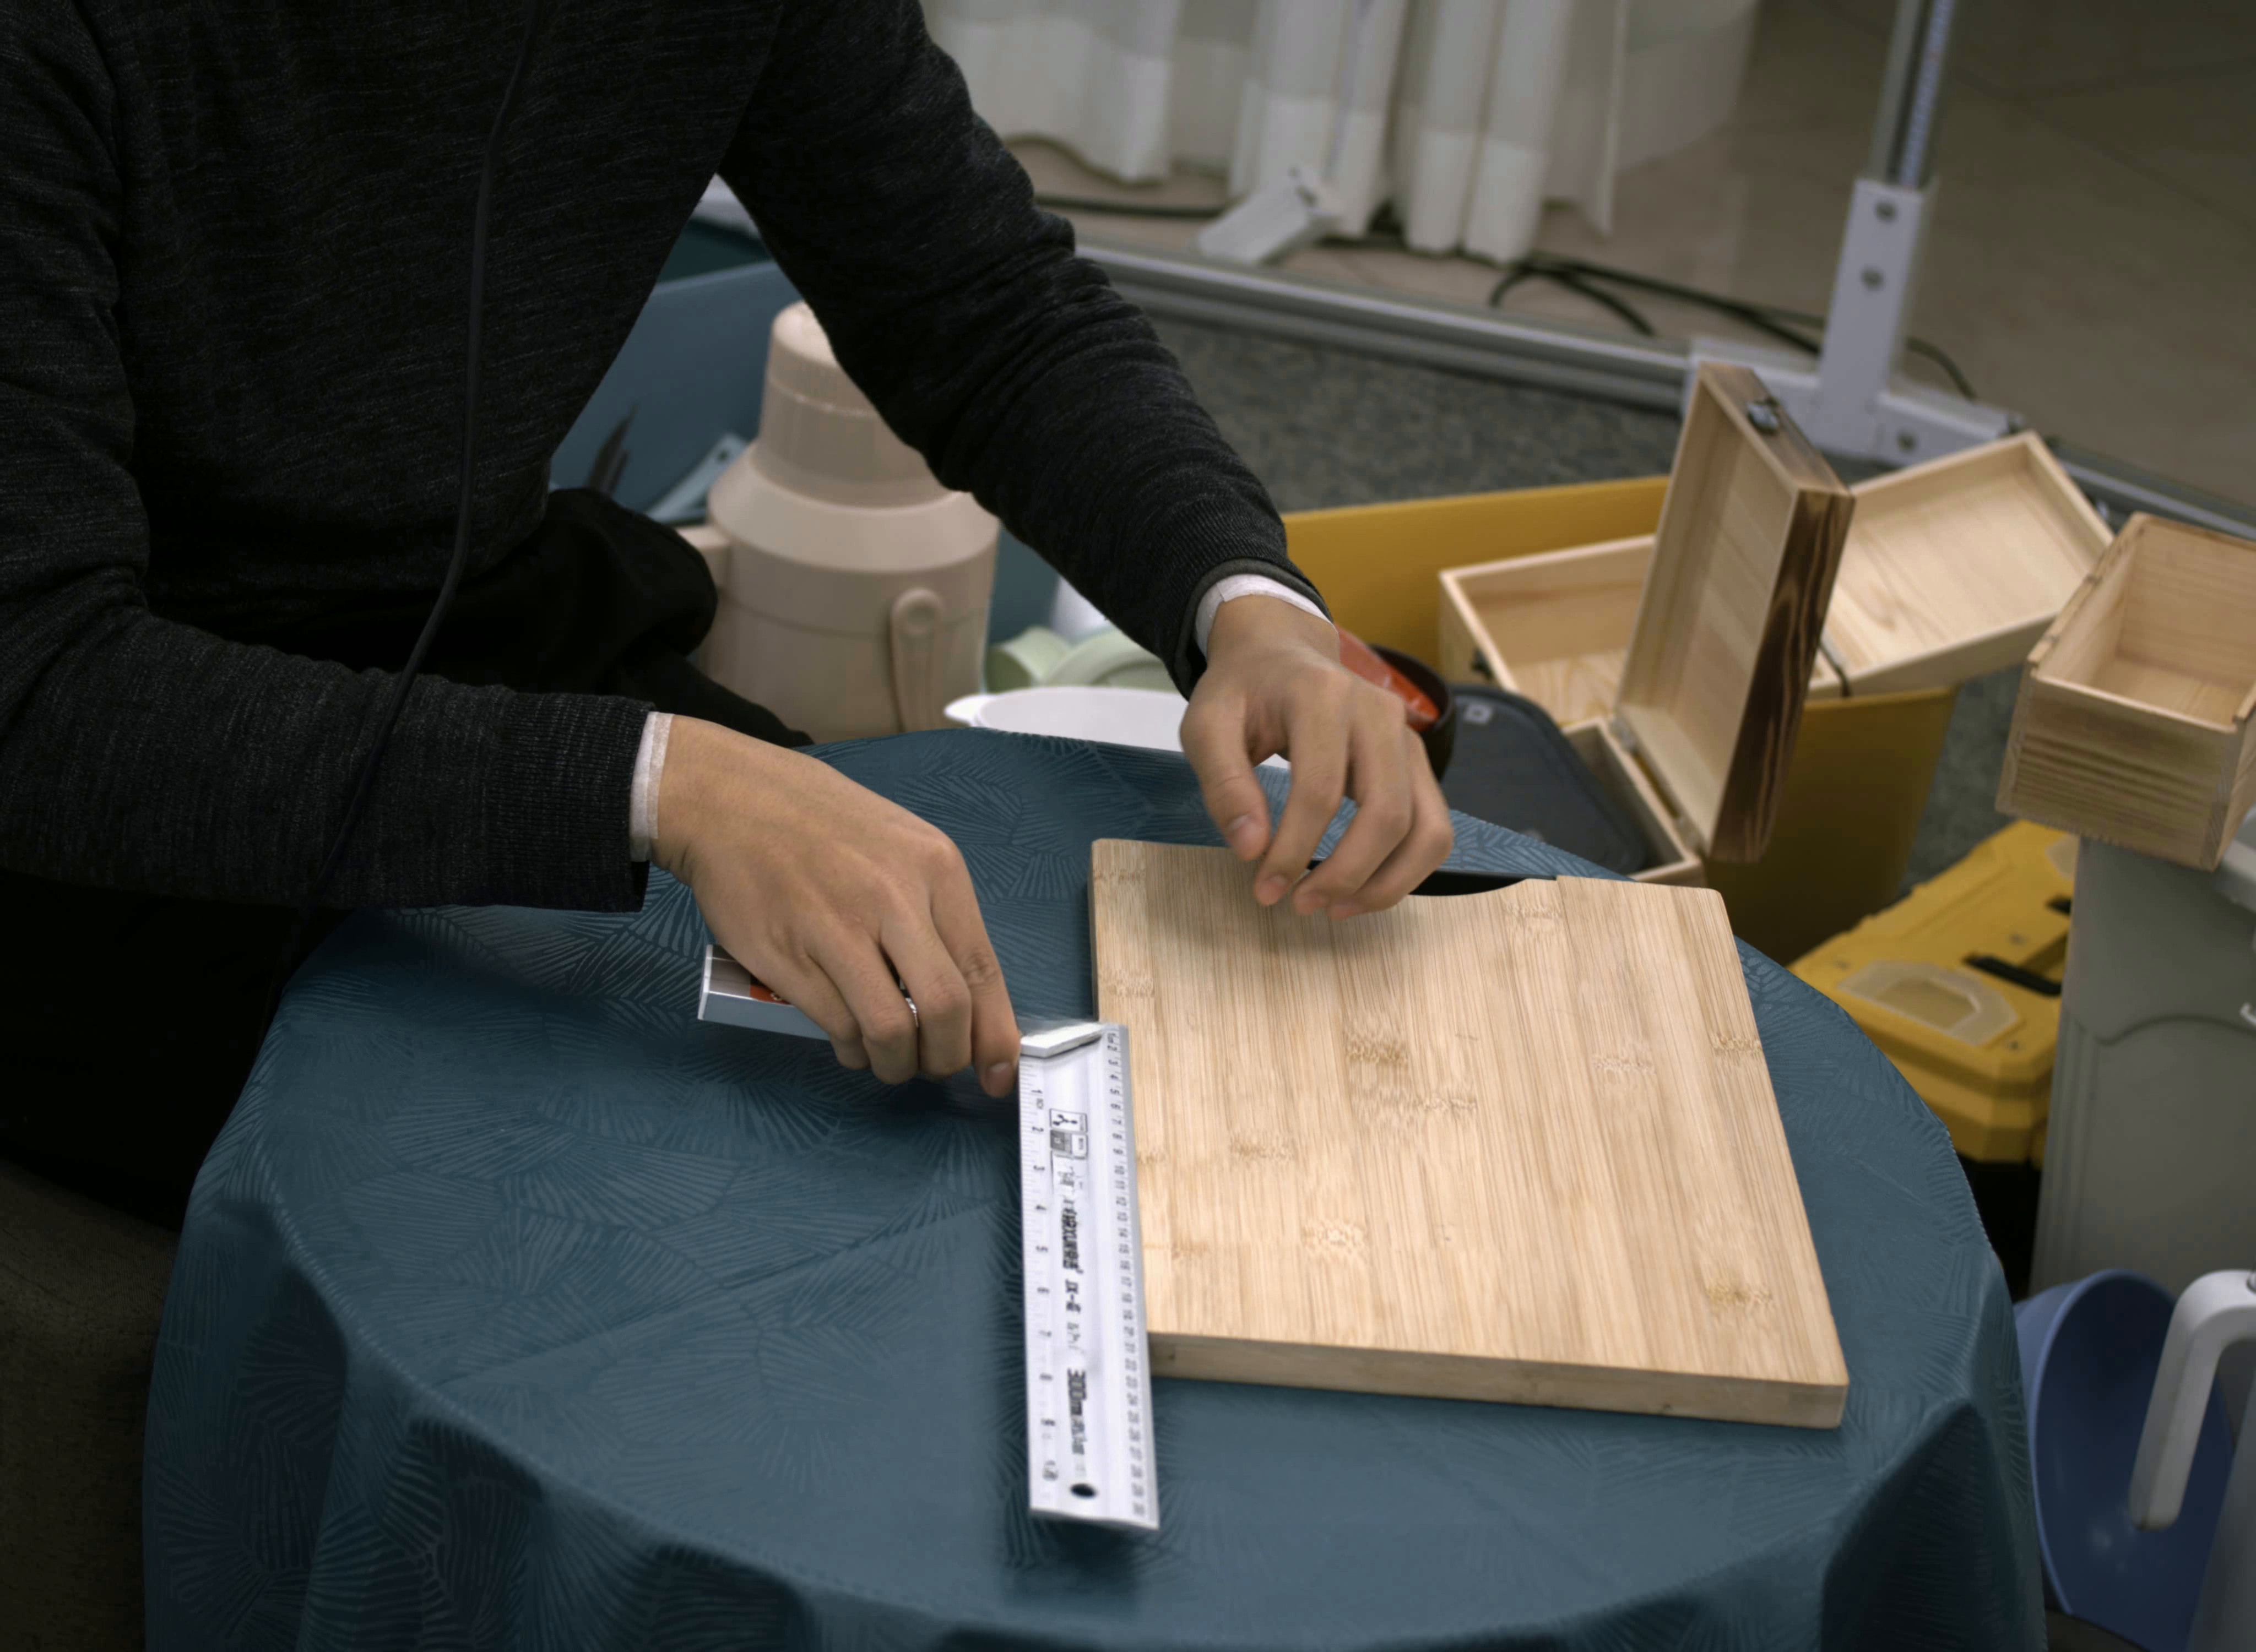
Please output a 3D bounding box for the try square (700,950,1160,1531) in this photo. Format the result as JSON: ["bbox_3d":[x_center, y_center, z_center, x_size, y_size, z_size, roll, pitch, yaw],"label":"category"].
[{"bbox_3d":[-0.069,0.129,1.724,0.151,0.016,0.315,8,26,-6],"label":"try square"}]

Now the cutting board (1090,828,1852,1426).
[{"bbox_3d":[0.109,0.098,1.859,0.250,0.023,0.351,5,27,-5],"label":"cutting board"}]
